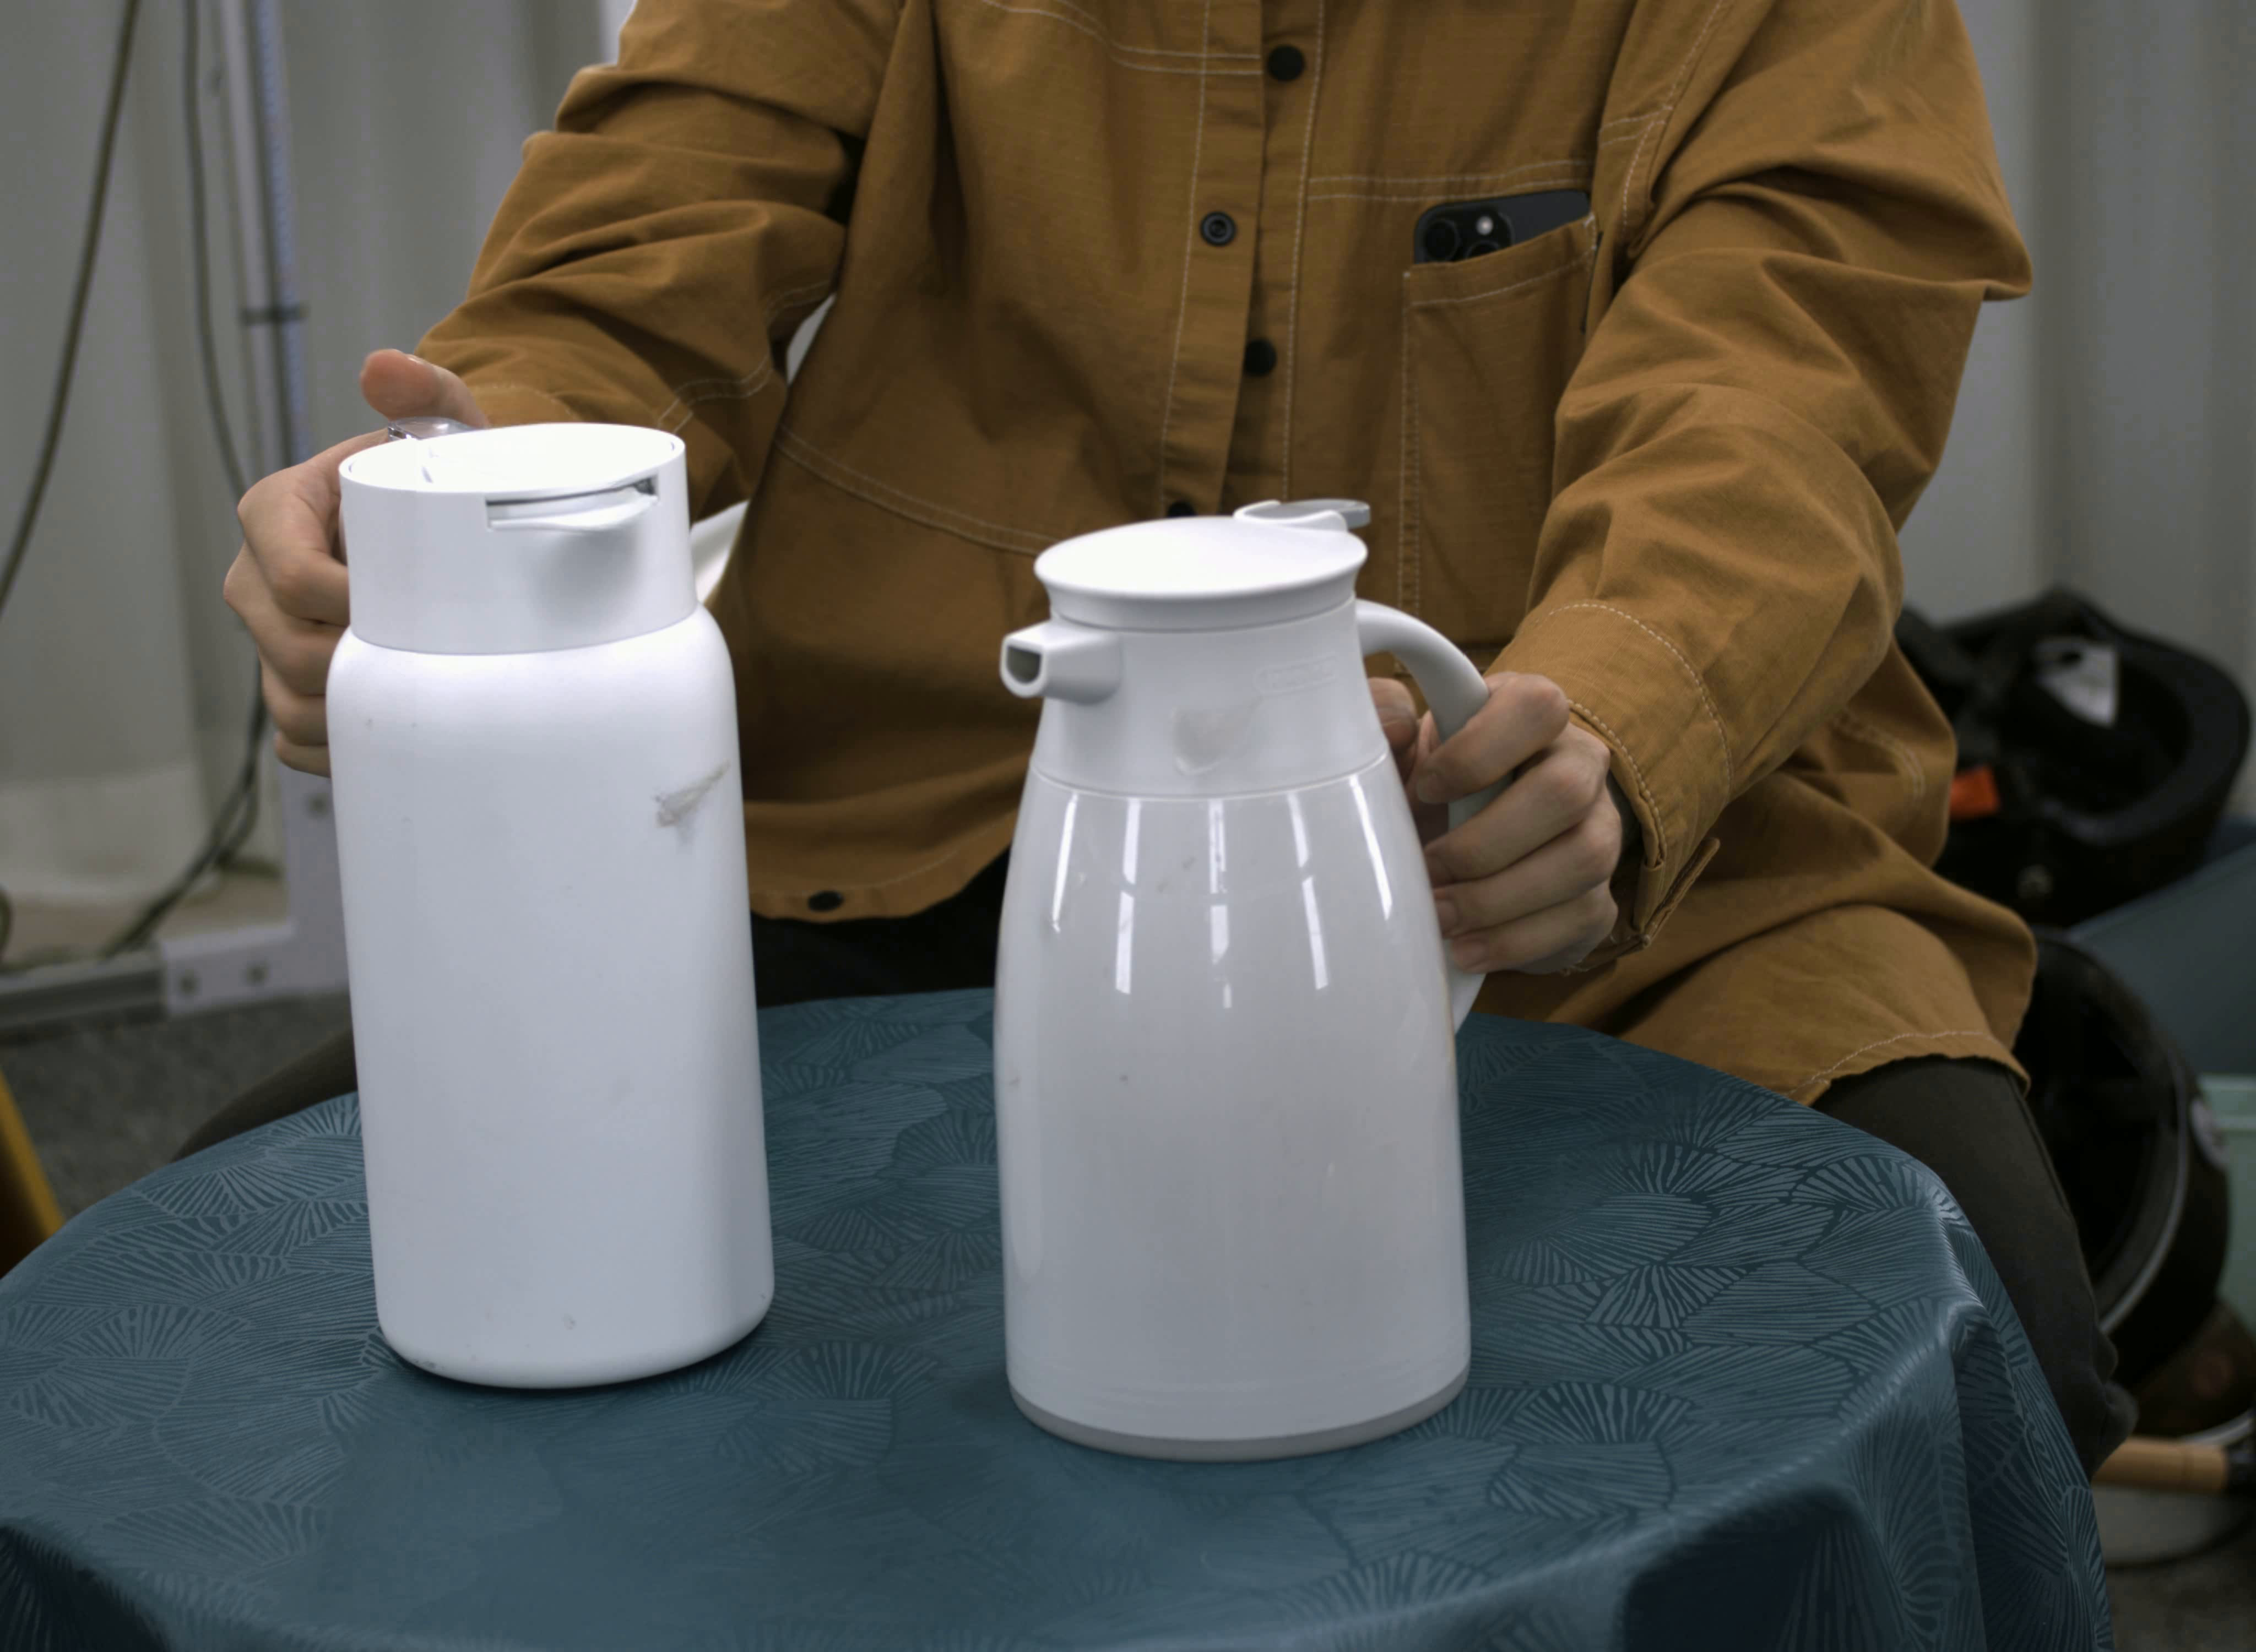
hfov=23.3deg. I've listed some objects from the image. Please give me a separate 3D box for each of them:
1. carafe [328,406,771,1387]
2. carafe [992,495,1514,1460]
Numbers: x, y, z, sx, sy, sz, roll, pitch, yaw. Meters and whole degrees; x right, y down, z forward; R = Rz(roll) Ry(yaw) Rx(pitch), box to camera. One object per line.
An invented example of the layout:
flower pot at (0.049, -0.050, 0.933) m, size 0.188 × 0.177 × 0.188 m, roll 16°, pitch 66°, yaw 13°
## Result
carafe at (-0.178, 0.017, 1.599) m, size 0.123 × 0.268 × 0.174 m, roll -13°, pitch 17°, yaw -28°
carafe at (0.040, 0.033, 1.533) m, size 0.167 × 0.248 × 0.133 m, roll -12°, pitch 17°, yaw -37°
